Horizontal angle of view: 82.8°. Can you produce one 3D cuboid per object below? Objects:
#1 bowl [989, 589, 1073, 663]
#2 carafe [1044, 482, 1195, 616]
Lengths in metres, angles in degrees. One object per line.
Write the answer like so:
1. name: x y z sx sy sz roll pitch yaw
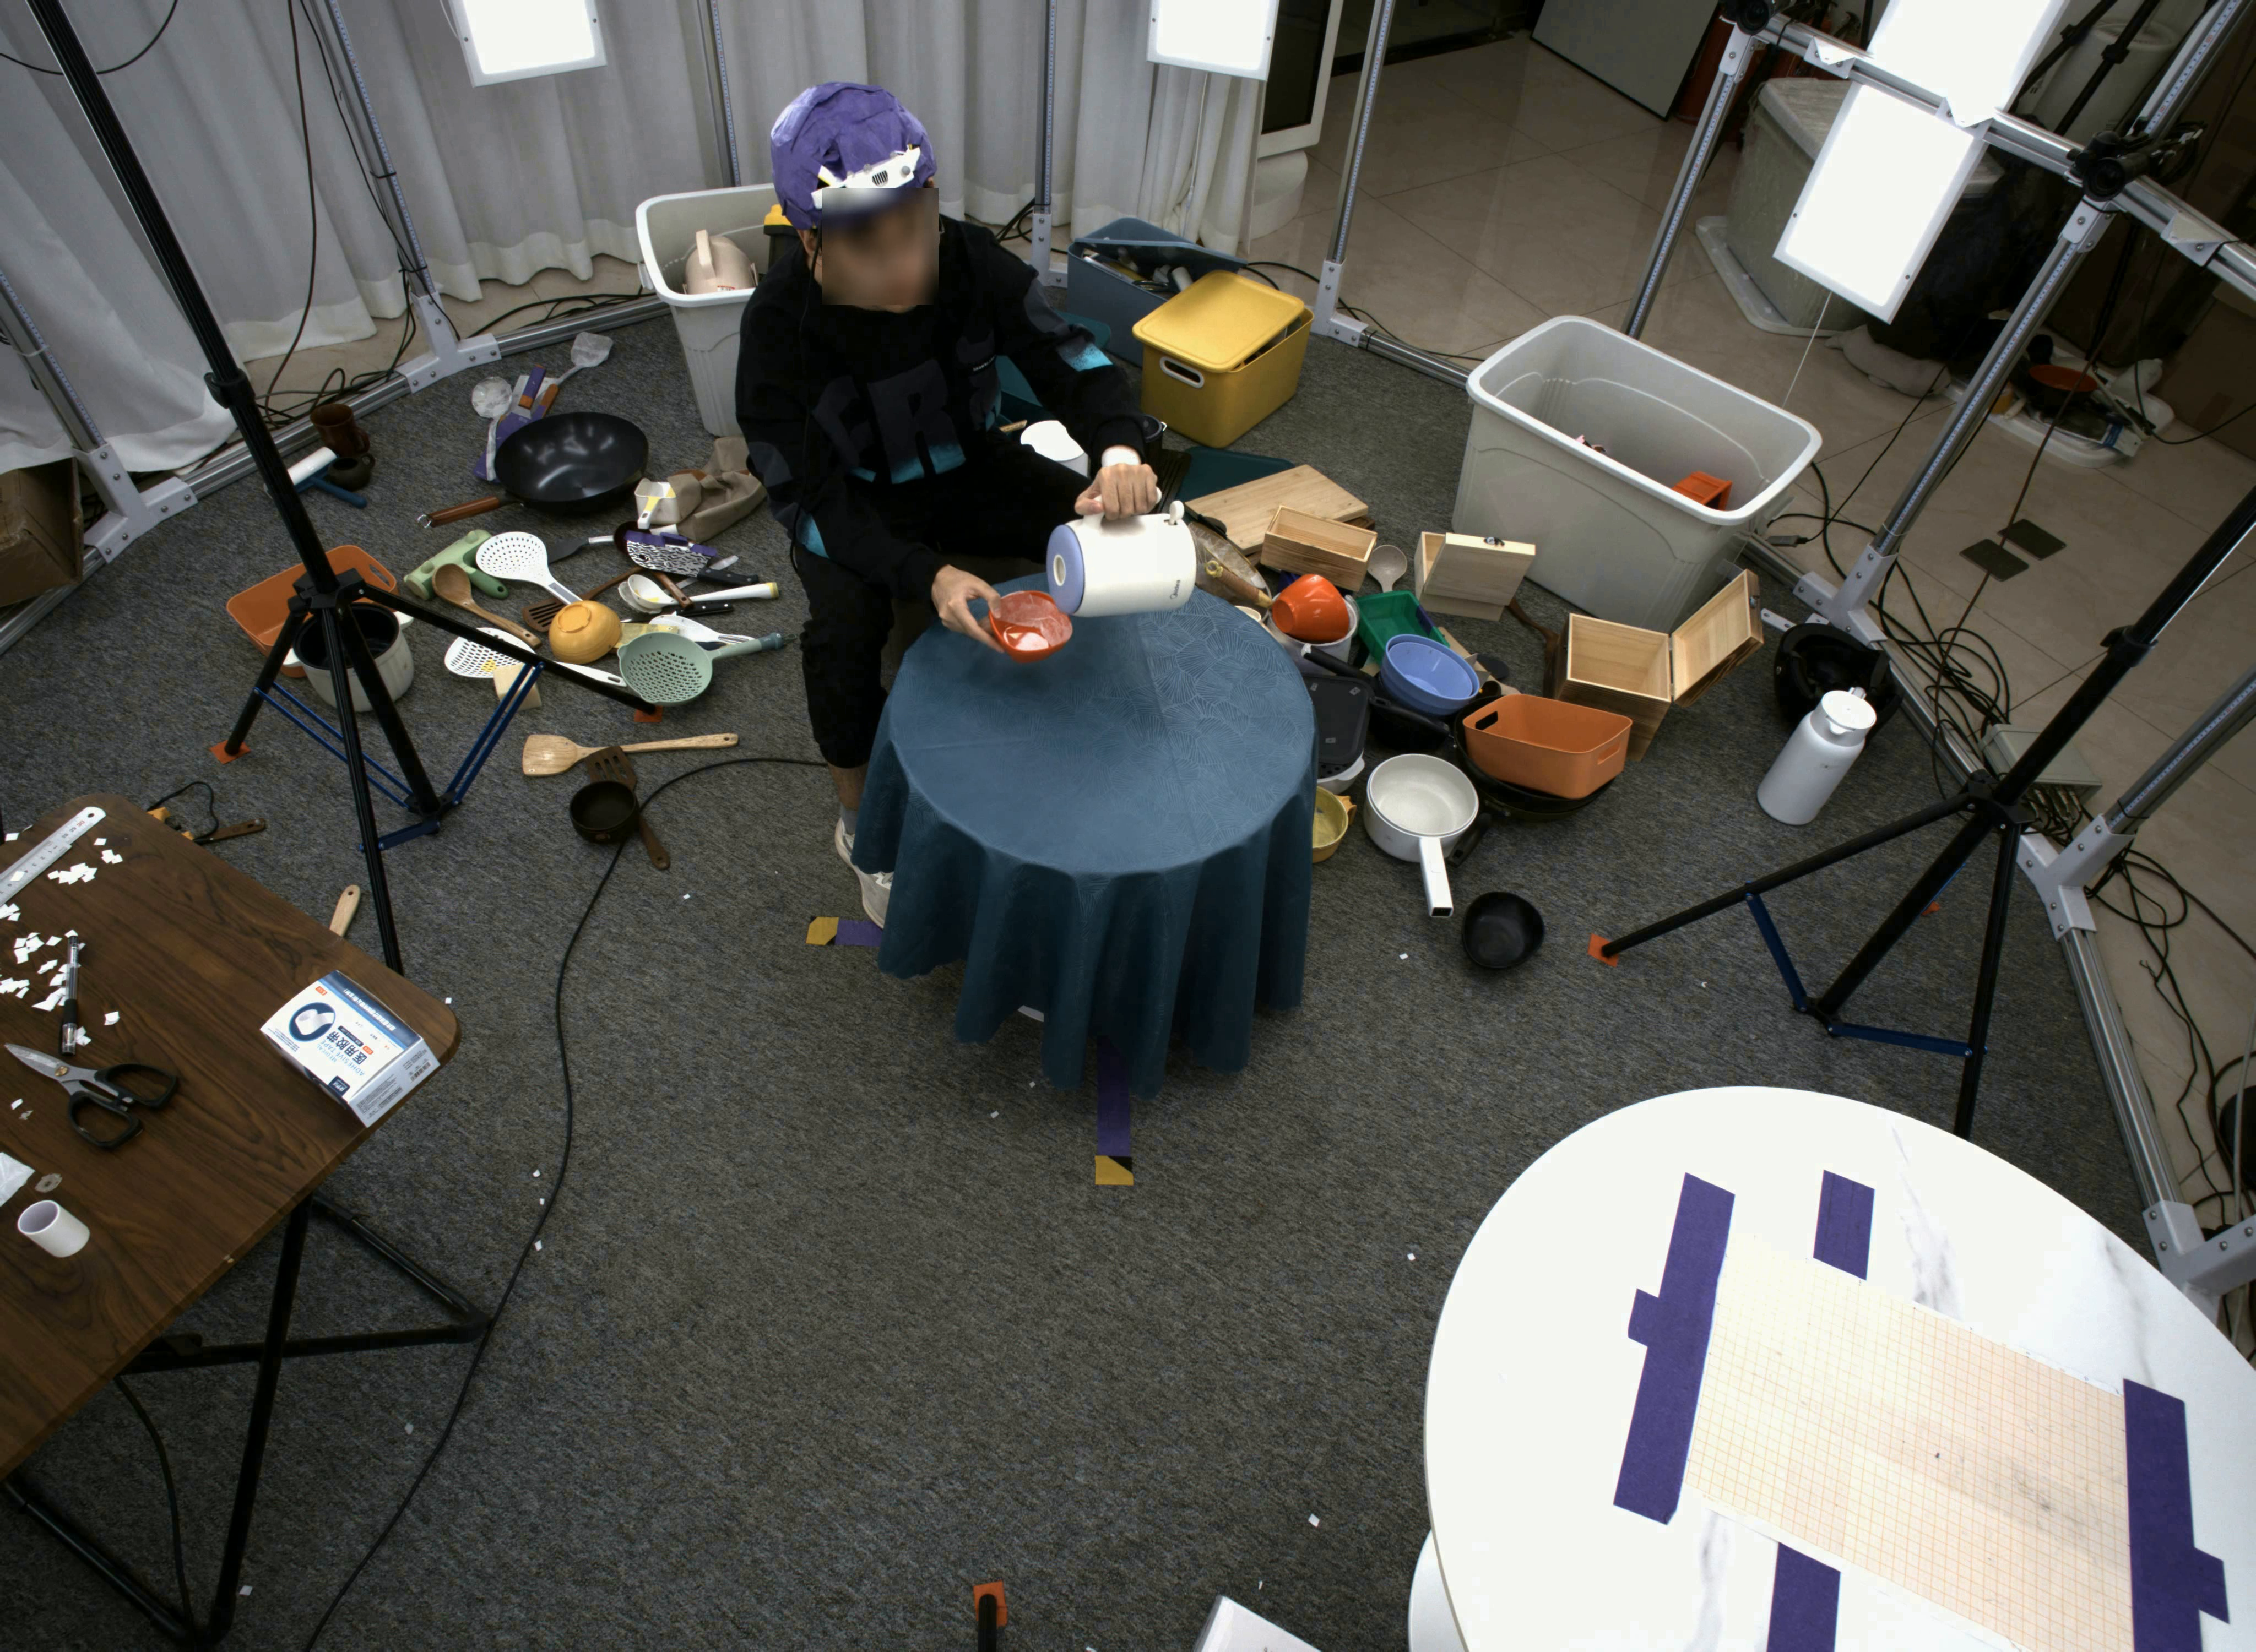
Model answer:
1. bowl: -0.138 -0.272 1.796 0.118 0.050 0.122 5 56 -8
2. carafe: -0.006 -0.372 1.728 0.182 0.187 0.135 -8 44 -26
